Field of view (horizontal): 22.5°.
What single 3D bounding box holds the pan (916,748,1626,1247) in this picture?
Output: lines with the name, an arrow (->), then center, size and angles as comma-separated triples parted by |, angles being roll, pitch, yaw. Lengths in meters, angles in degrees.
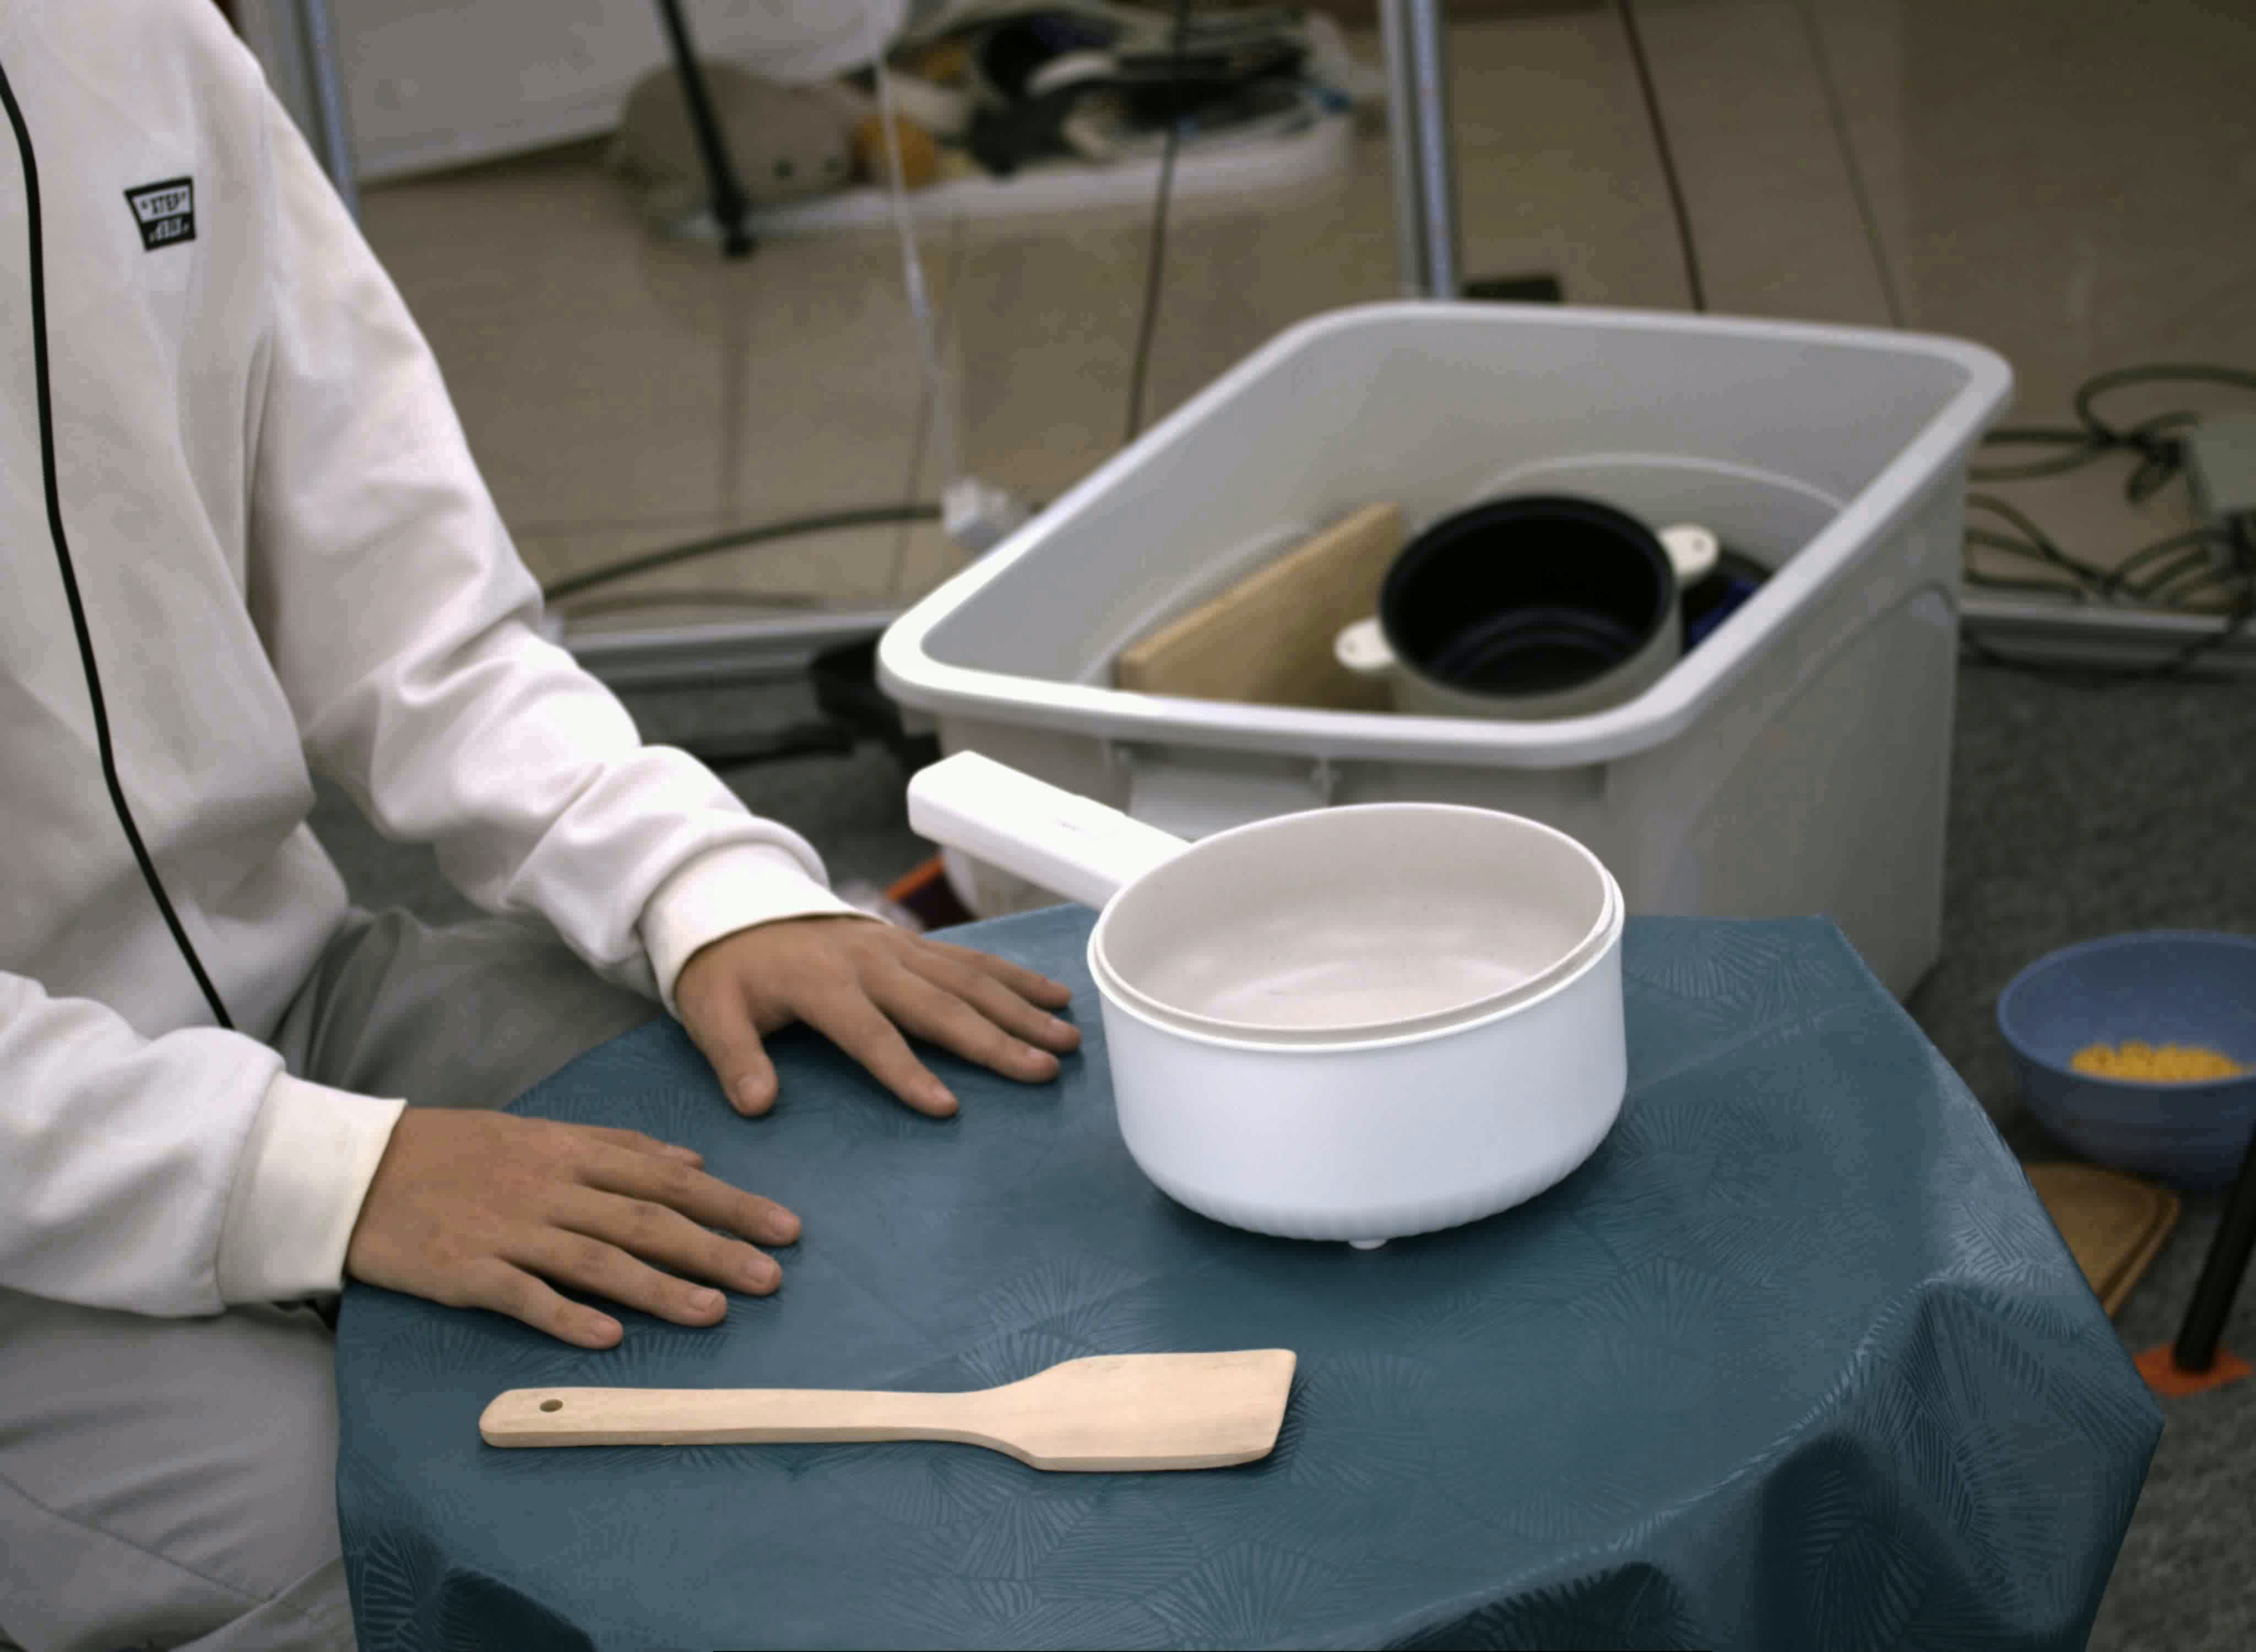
pan -> 0.041, 0.058, 2.192 | 0.200, 0.103, 0.352 | -25, 29, -33

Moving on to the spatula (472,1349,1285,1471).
spatula -> -0.091, 0.208, 2.009 | 0.292, 0.011, 0.071 | -2, 26, 11
